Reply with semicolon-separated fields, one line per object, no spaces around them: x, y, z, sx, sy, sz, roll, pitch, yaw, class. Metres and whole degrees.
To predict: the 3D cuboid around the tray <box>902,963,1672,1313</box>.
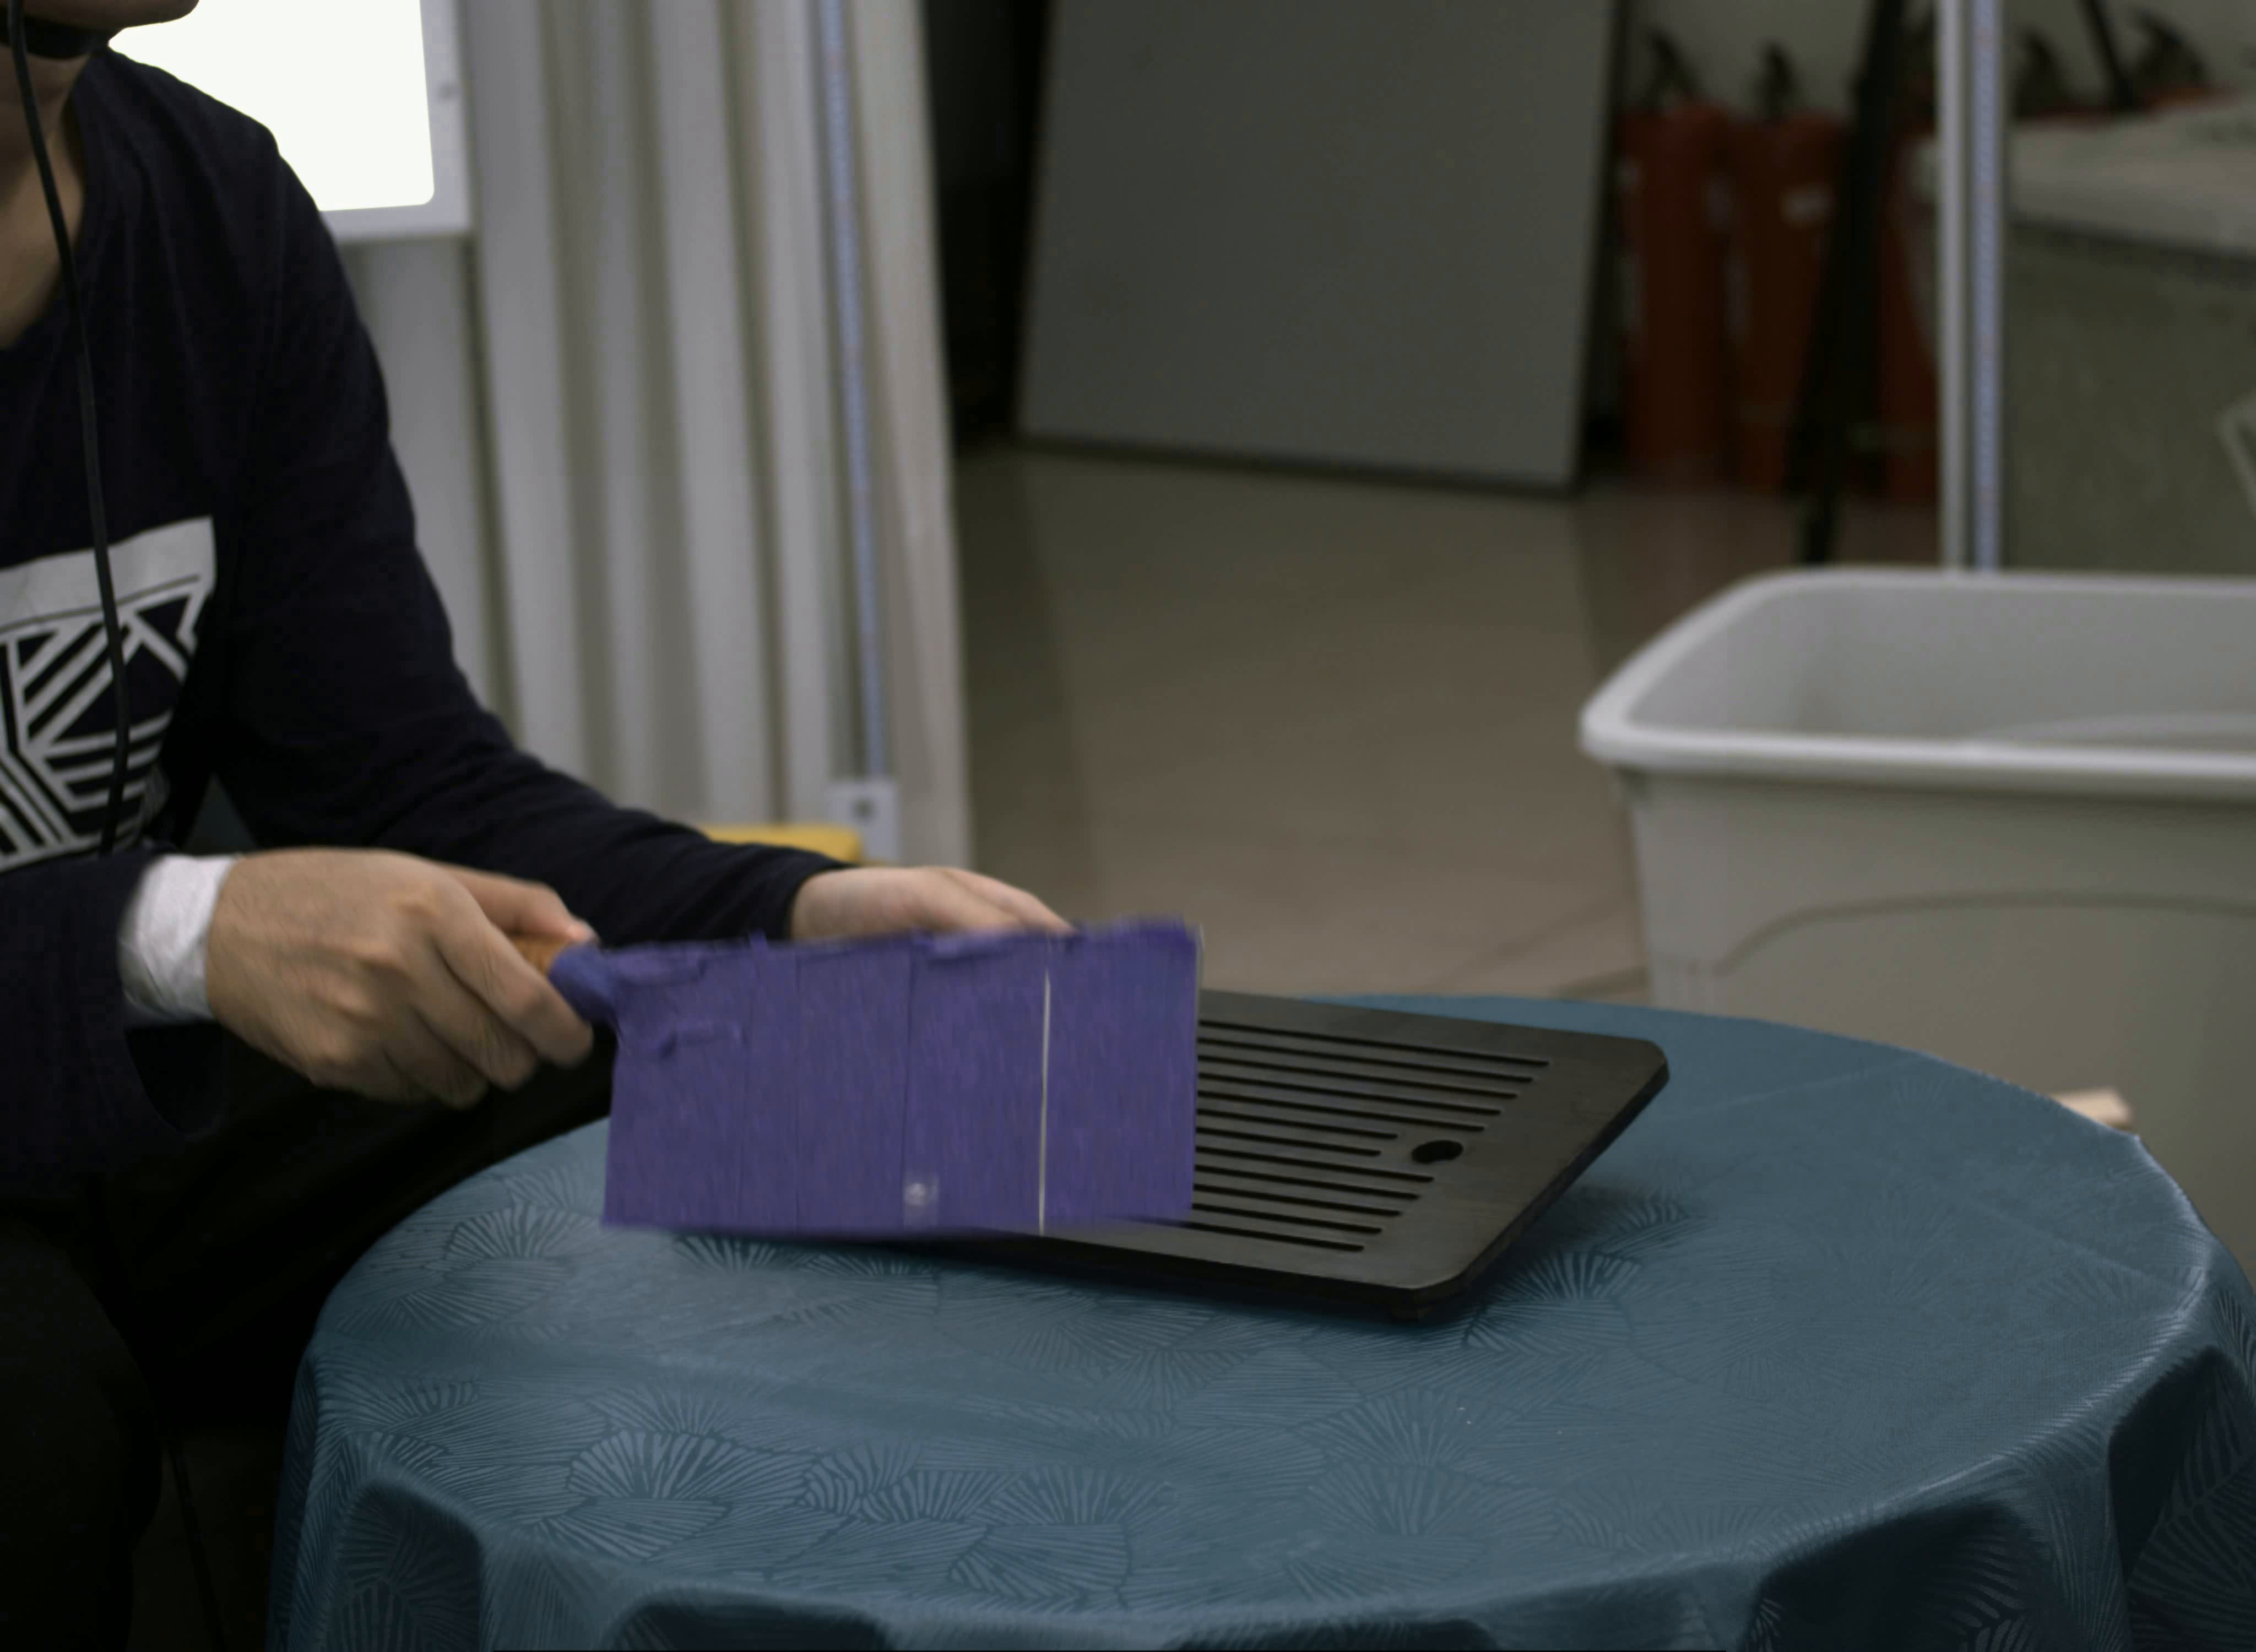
0.012;0.099;1.761;0.307;0.019;0.168;4;27;33;tray

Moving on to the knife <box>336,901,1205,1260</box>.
-0.114;0.082;1.644;0.317;0.105;0.031;-5;-15;32;knife
